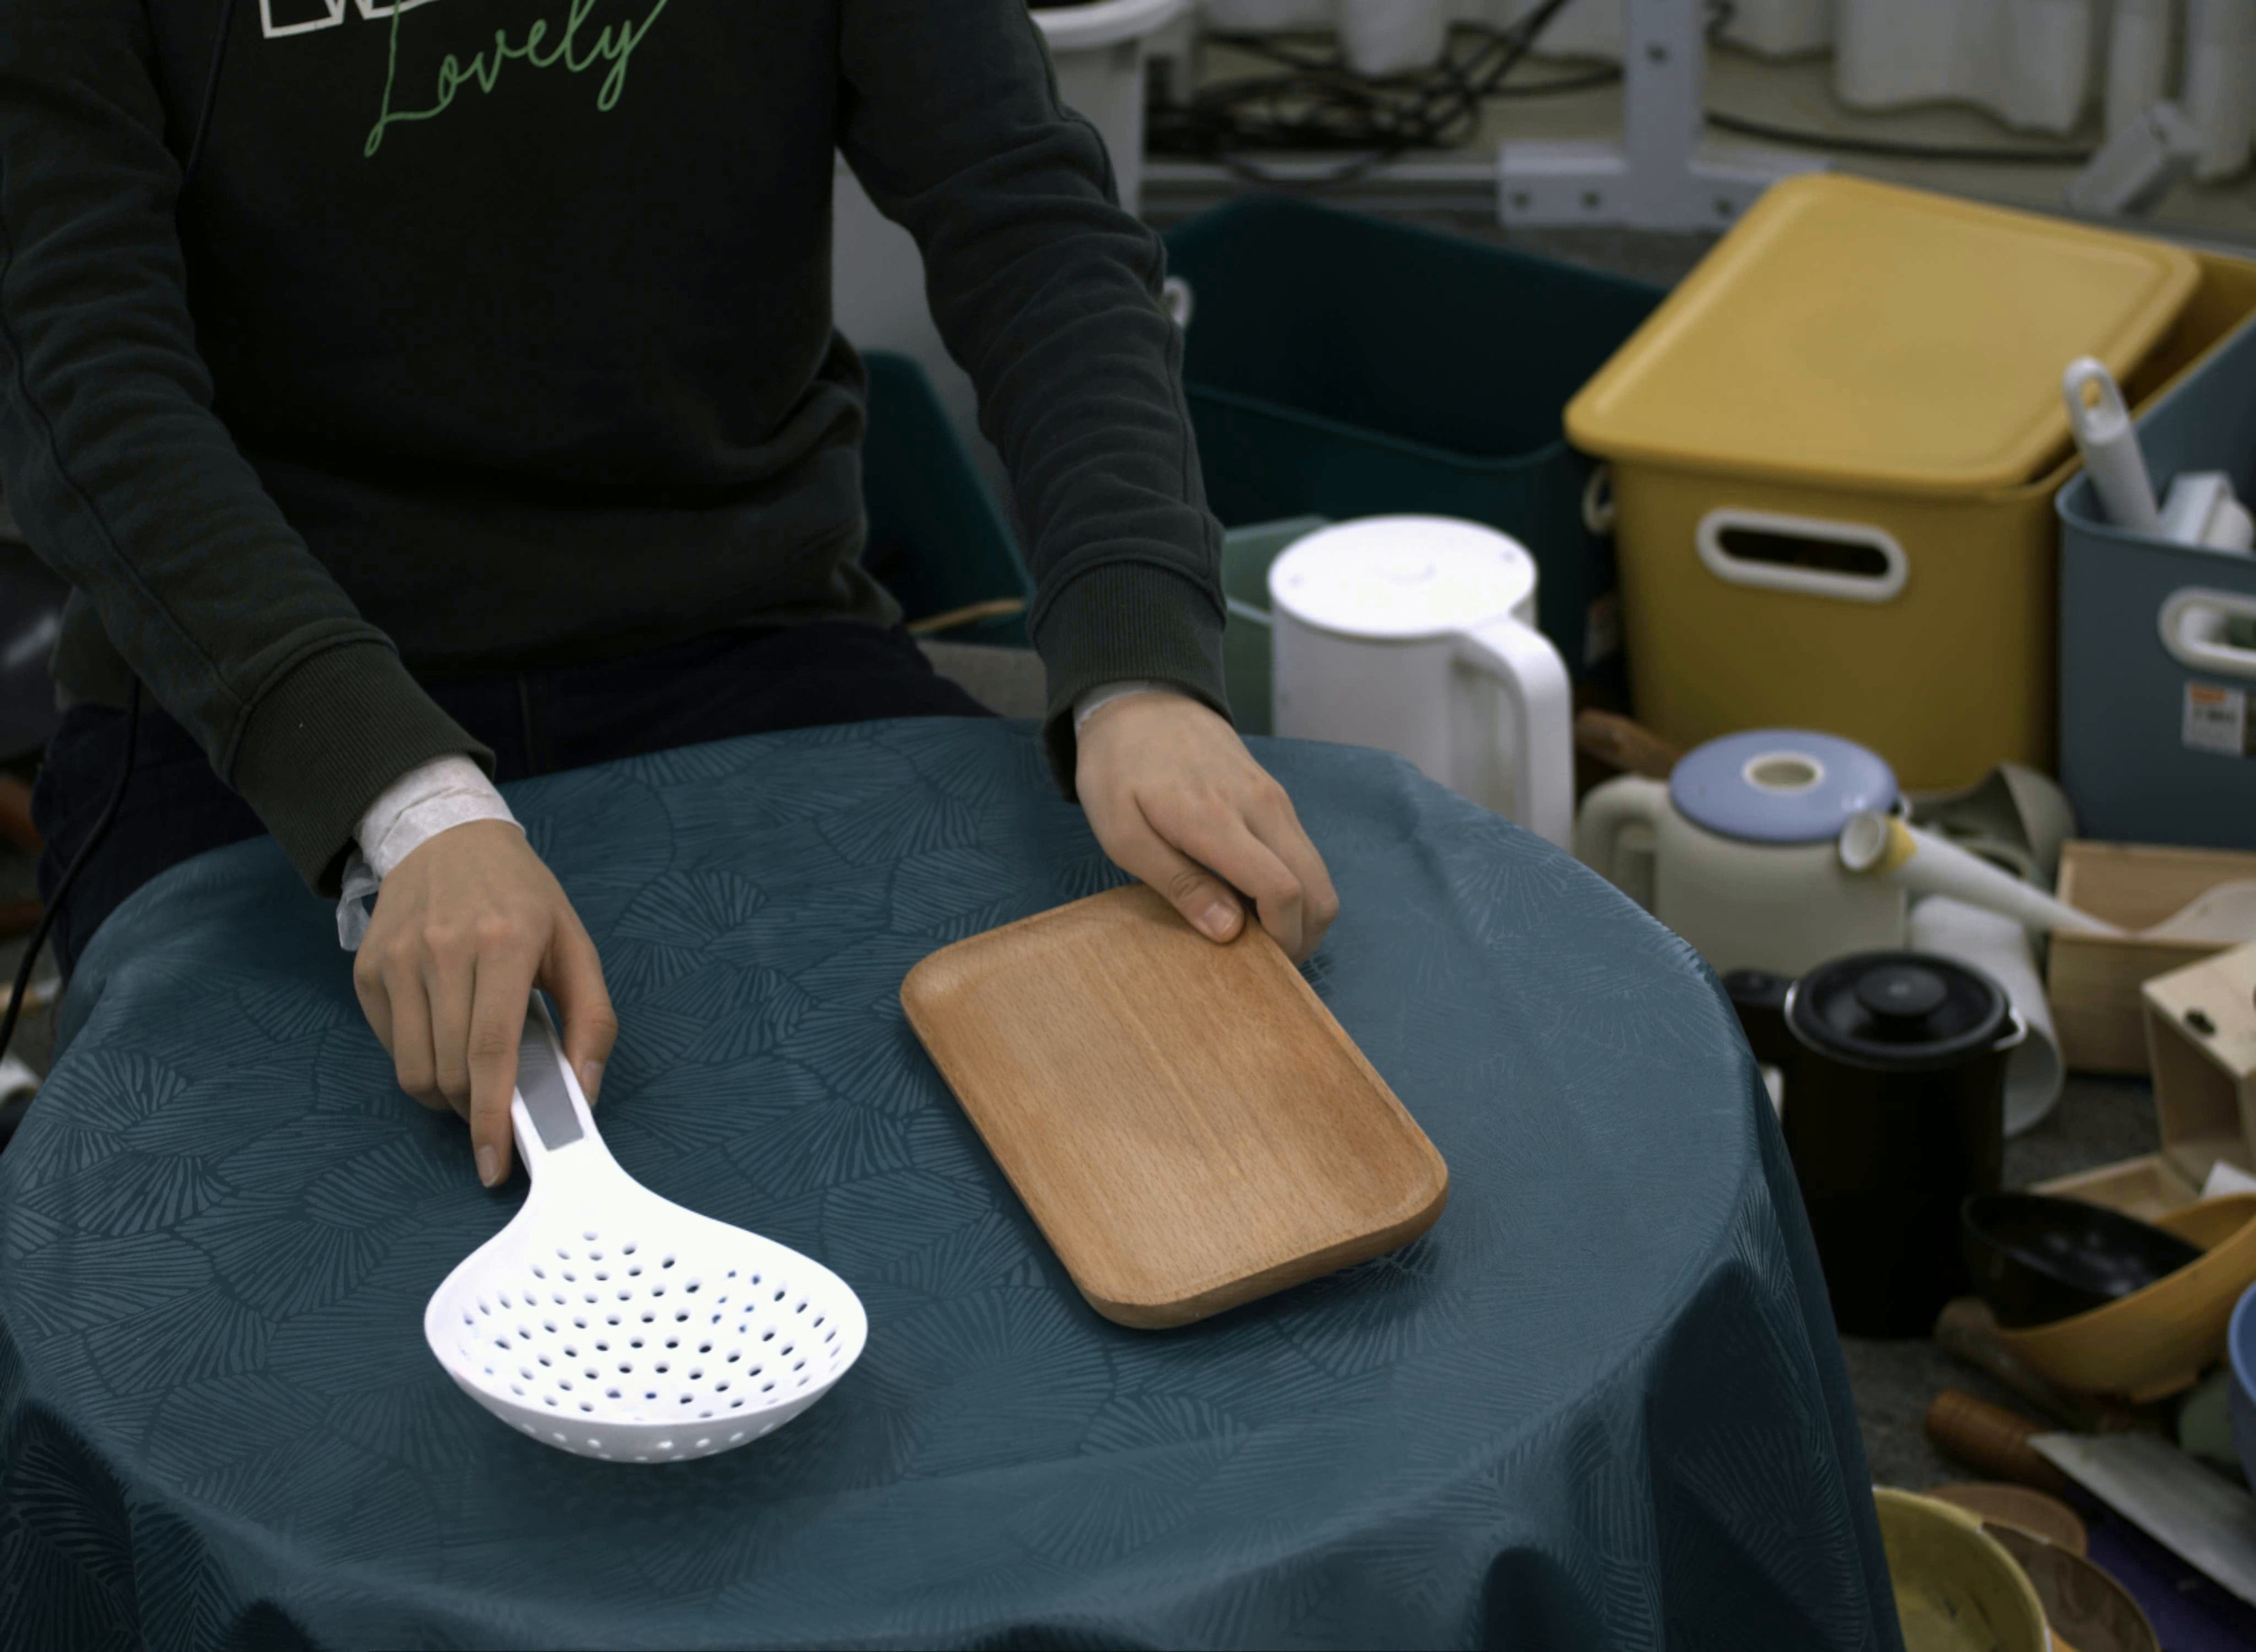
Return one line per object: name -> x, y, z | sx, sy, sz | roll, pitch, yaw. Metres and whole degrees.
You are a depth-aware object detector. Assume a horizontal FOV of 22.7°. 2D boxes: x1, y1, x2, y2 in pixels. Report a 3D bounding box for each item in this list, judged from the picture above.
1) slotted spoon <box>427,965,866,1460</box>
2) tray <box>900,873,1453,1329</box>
slotted spoon -> -0.178, 0.119, 1.829 | 0.136, 0.045, 0.353 | -1, 26, -16
tray -> 0.013, 0.089, 1.888 | 0.131, 0.022, 0.253 | -16, 29, -12
